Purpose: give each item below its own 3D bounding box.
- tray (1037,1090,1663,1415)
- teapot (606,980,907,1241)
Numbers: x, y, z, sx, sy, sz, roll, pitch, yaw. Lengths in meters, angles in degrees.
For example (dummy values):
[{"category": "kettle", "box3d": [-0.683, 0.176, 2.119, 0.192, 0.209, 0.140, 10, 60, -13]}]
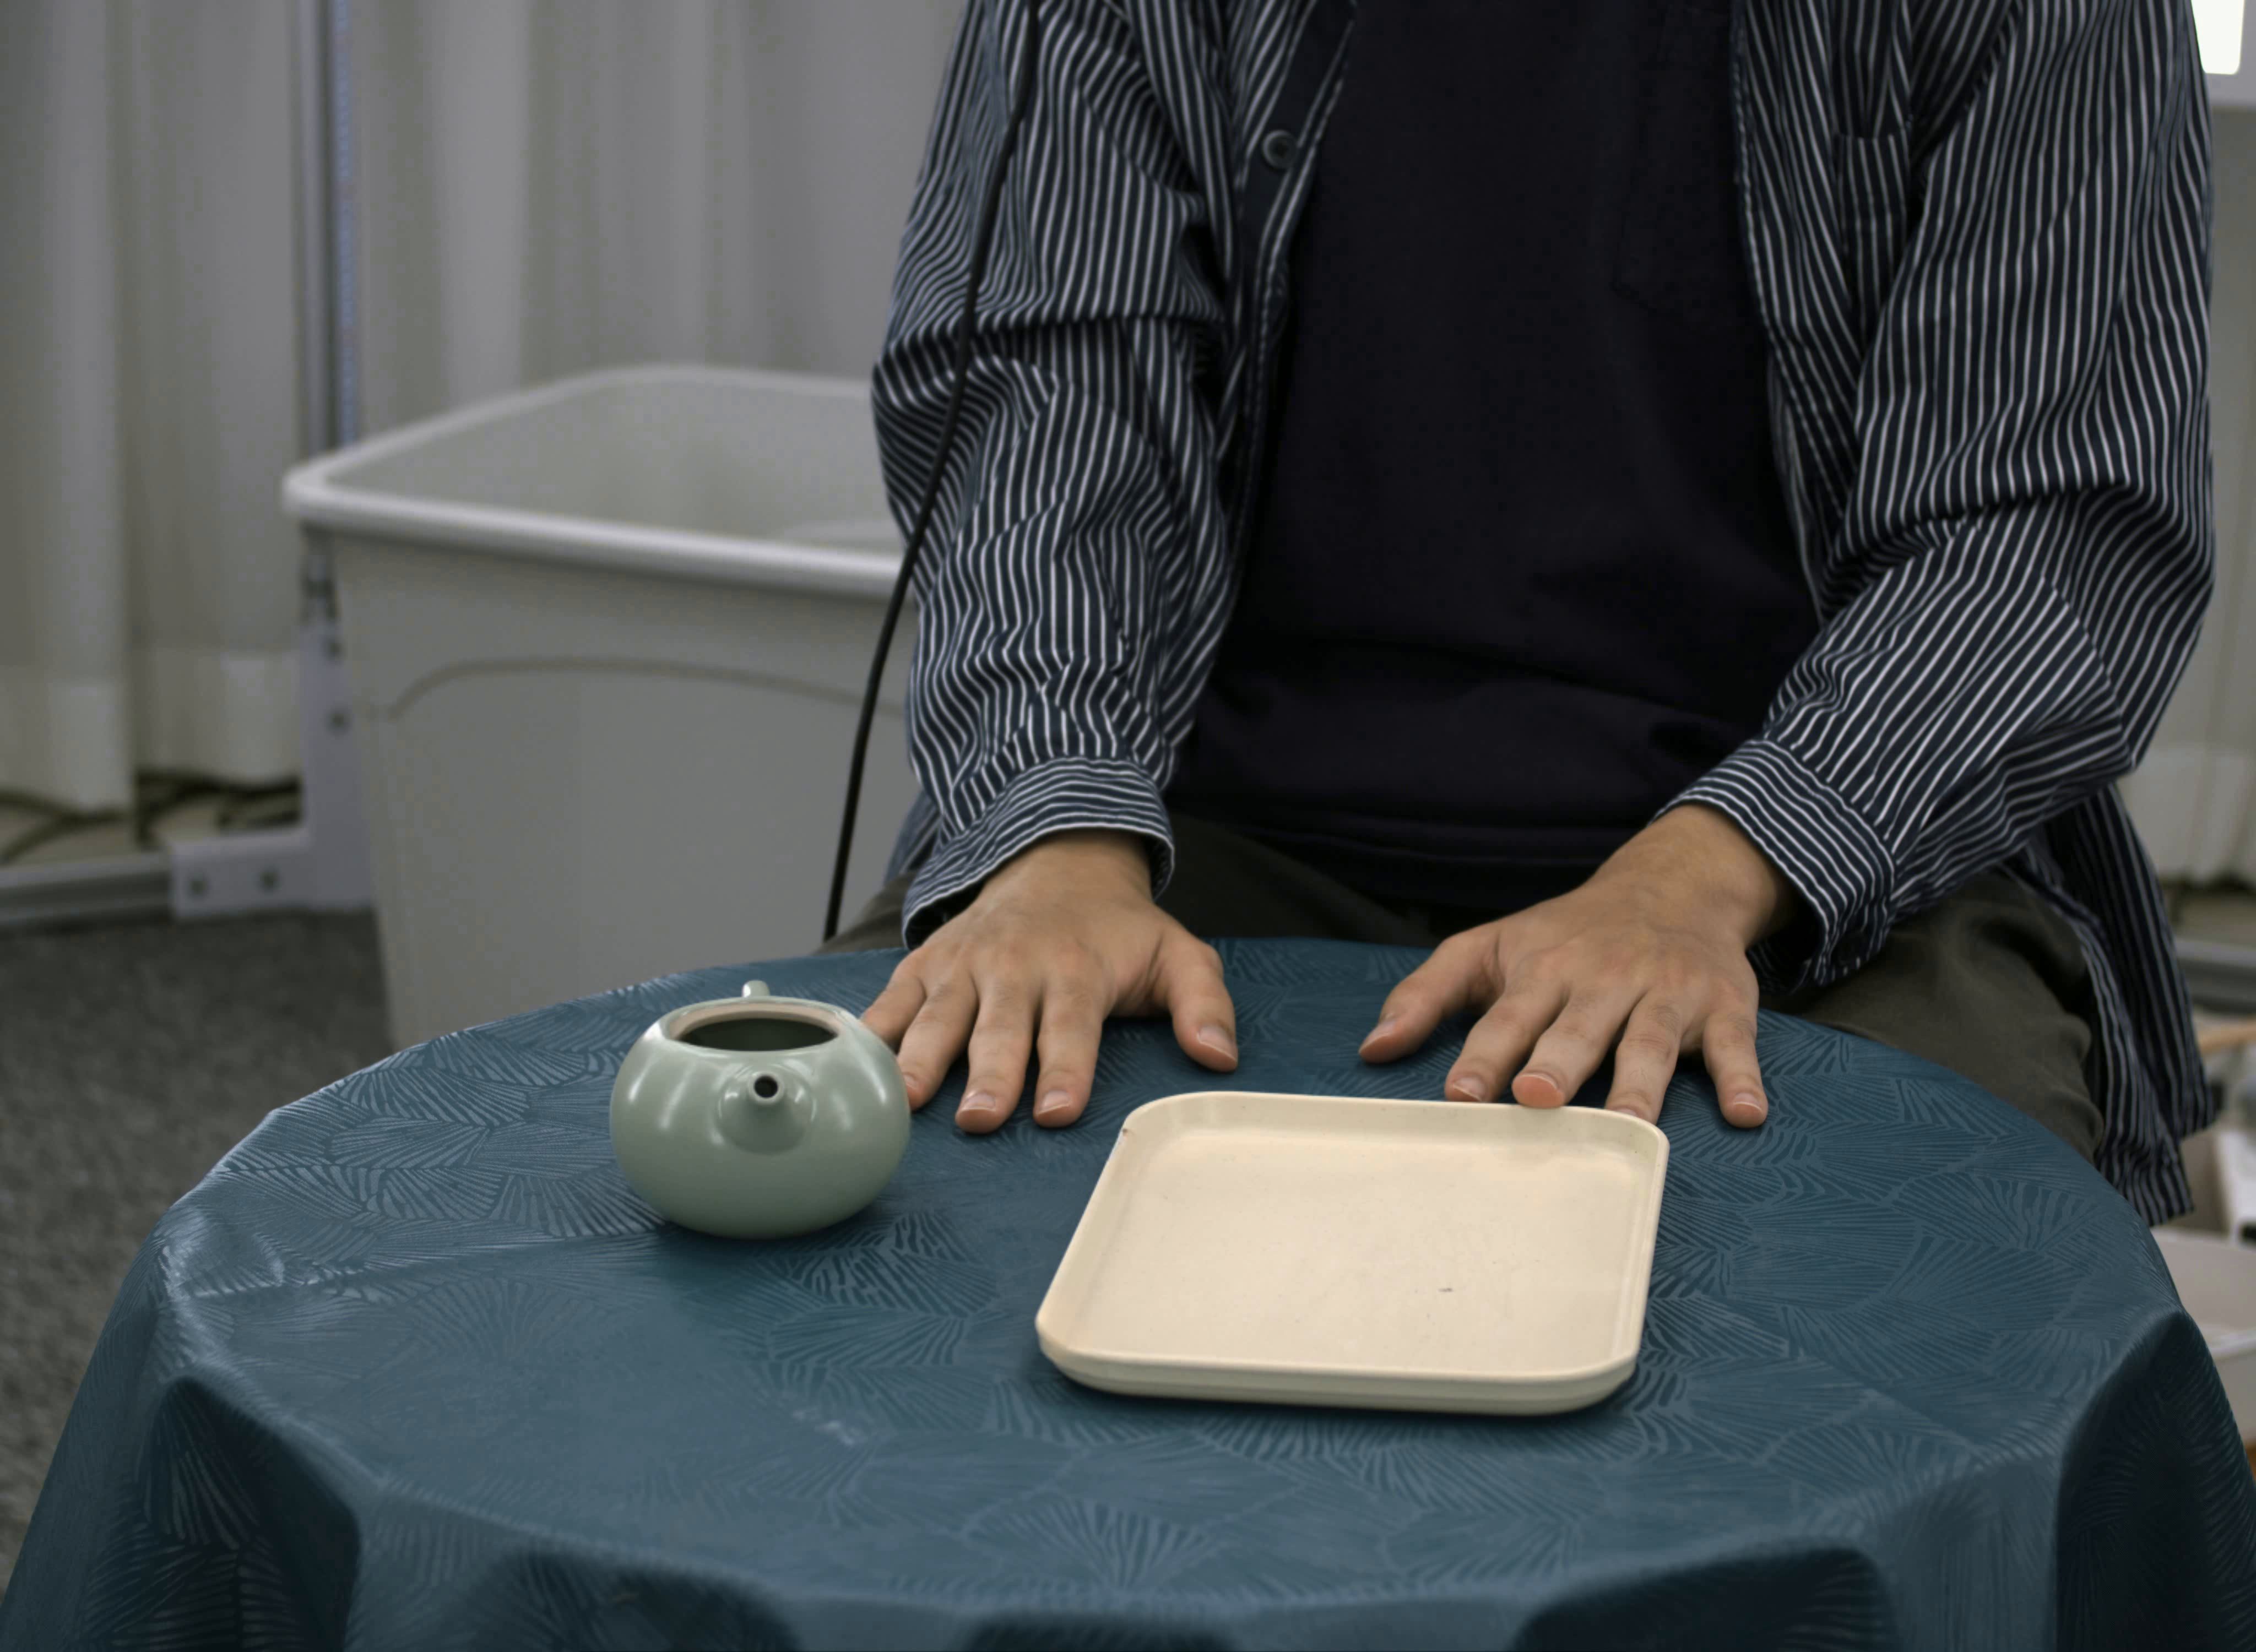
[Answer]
[{"category": "tray", "box3d": [0.070, 0.124, 1.555, 0.170, 0.017, 0.239, 3, 15, 7]}, {"category": "teapot", "box3d": [-0.113, 0.086, 1.609, 0.091, 0.061, 0.128, -2, 15, -1]}]
